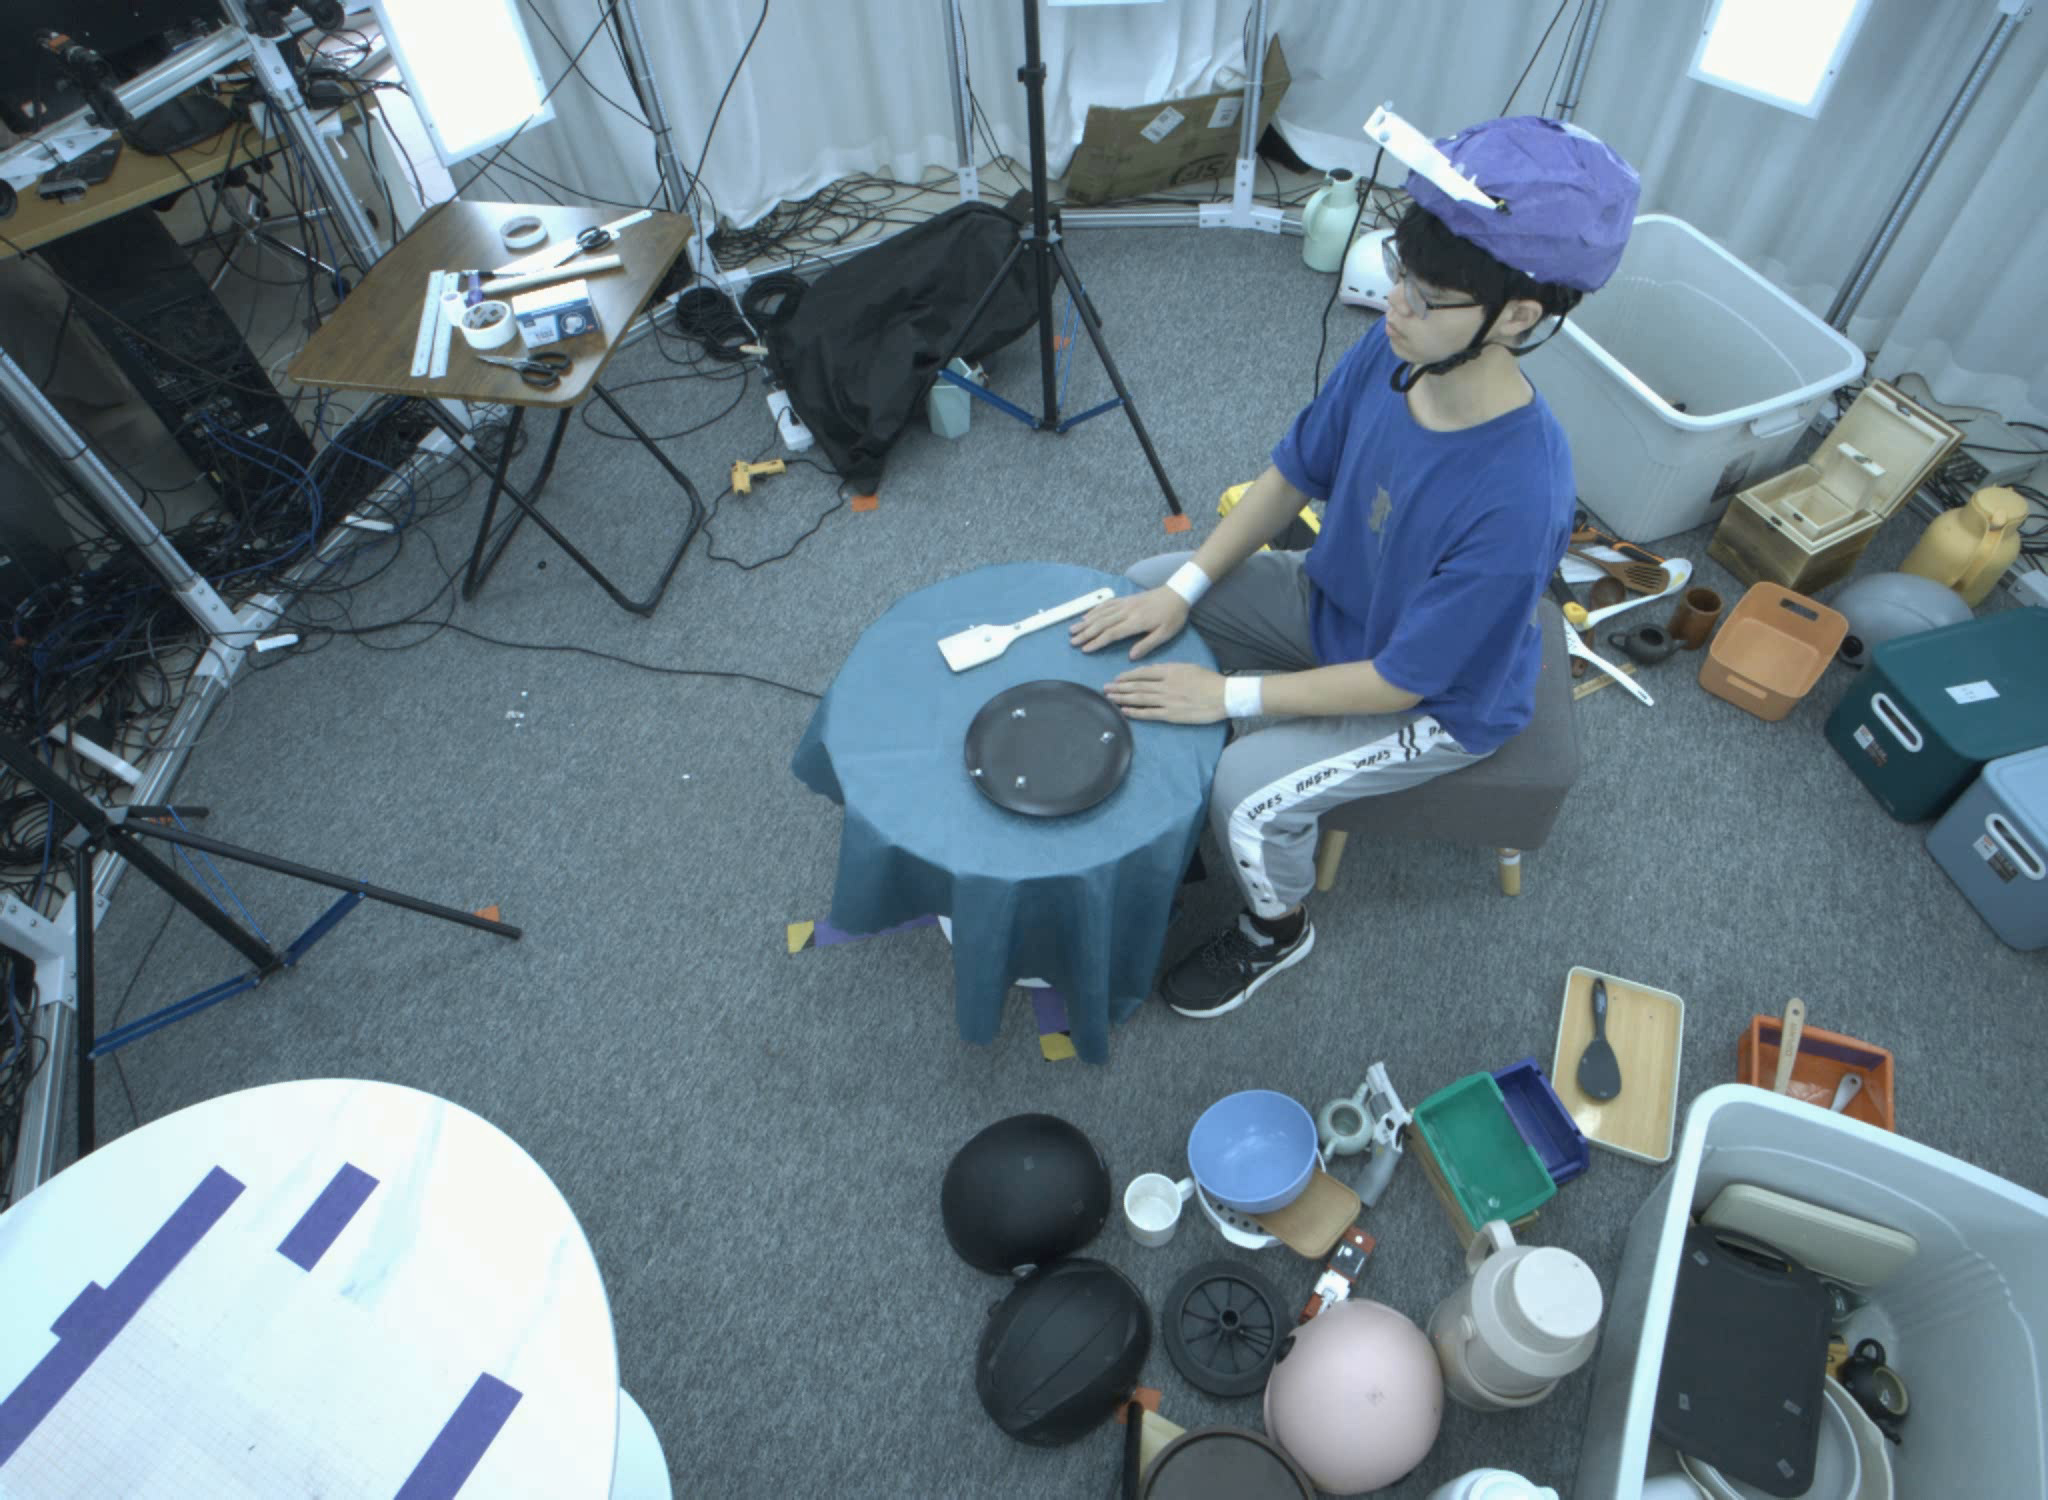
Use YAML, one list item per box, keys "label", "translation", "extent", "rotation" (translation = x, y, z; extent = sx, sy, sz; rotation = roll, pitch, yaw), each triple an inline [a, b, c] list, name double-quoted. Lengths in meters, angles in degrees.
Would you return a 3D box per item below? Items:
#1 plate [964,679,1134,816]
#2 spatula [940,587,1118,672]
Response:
- label: "plate"
  translation: [0.035, -0.002, 1.764]
  extent: [0.244, 0.024, 0.242]
  rotation: [0, 54, 2]
- label: "spatula"
  translation: [0.014, -0.197, 1.913]
  extent: [0.295, 0.011, 0.071]
  rotation: [-23, 55, -13]
